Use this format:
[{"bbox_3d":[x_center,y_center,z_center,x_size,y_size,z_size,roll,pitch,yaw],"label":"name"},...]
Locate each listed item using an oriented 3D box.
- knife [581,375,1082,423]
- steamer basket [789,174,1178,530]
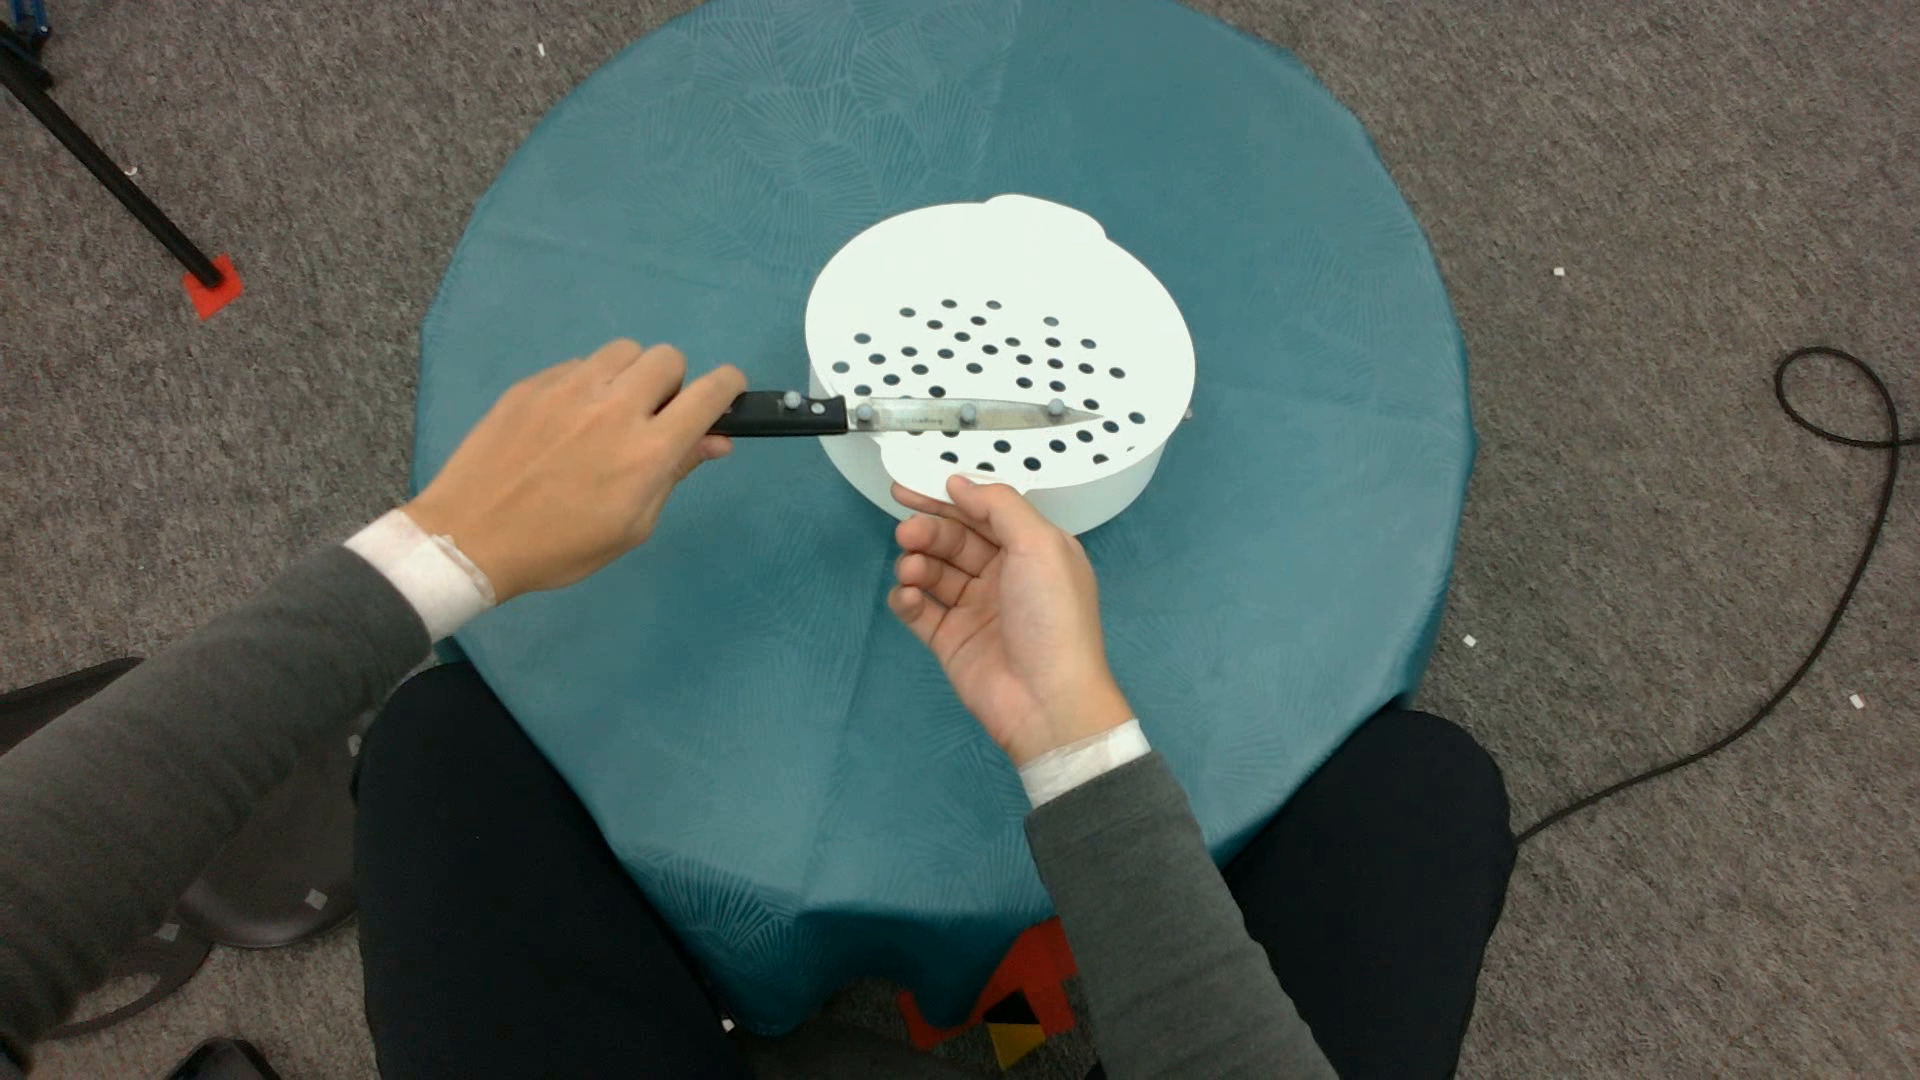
[{"bbox_3d":[-0.056,-0.067,0.650,0.238,0.016,0.024,-2,55,-12],"label":"knife"},{"bbox_3d":[0.010,-0.097,0.729,0.202,0.069,0.232,17,54,3],"label":"steamer basket"}]
